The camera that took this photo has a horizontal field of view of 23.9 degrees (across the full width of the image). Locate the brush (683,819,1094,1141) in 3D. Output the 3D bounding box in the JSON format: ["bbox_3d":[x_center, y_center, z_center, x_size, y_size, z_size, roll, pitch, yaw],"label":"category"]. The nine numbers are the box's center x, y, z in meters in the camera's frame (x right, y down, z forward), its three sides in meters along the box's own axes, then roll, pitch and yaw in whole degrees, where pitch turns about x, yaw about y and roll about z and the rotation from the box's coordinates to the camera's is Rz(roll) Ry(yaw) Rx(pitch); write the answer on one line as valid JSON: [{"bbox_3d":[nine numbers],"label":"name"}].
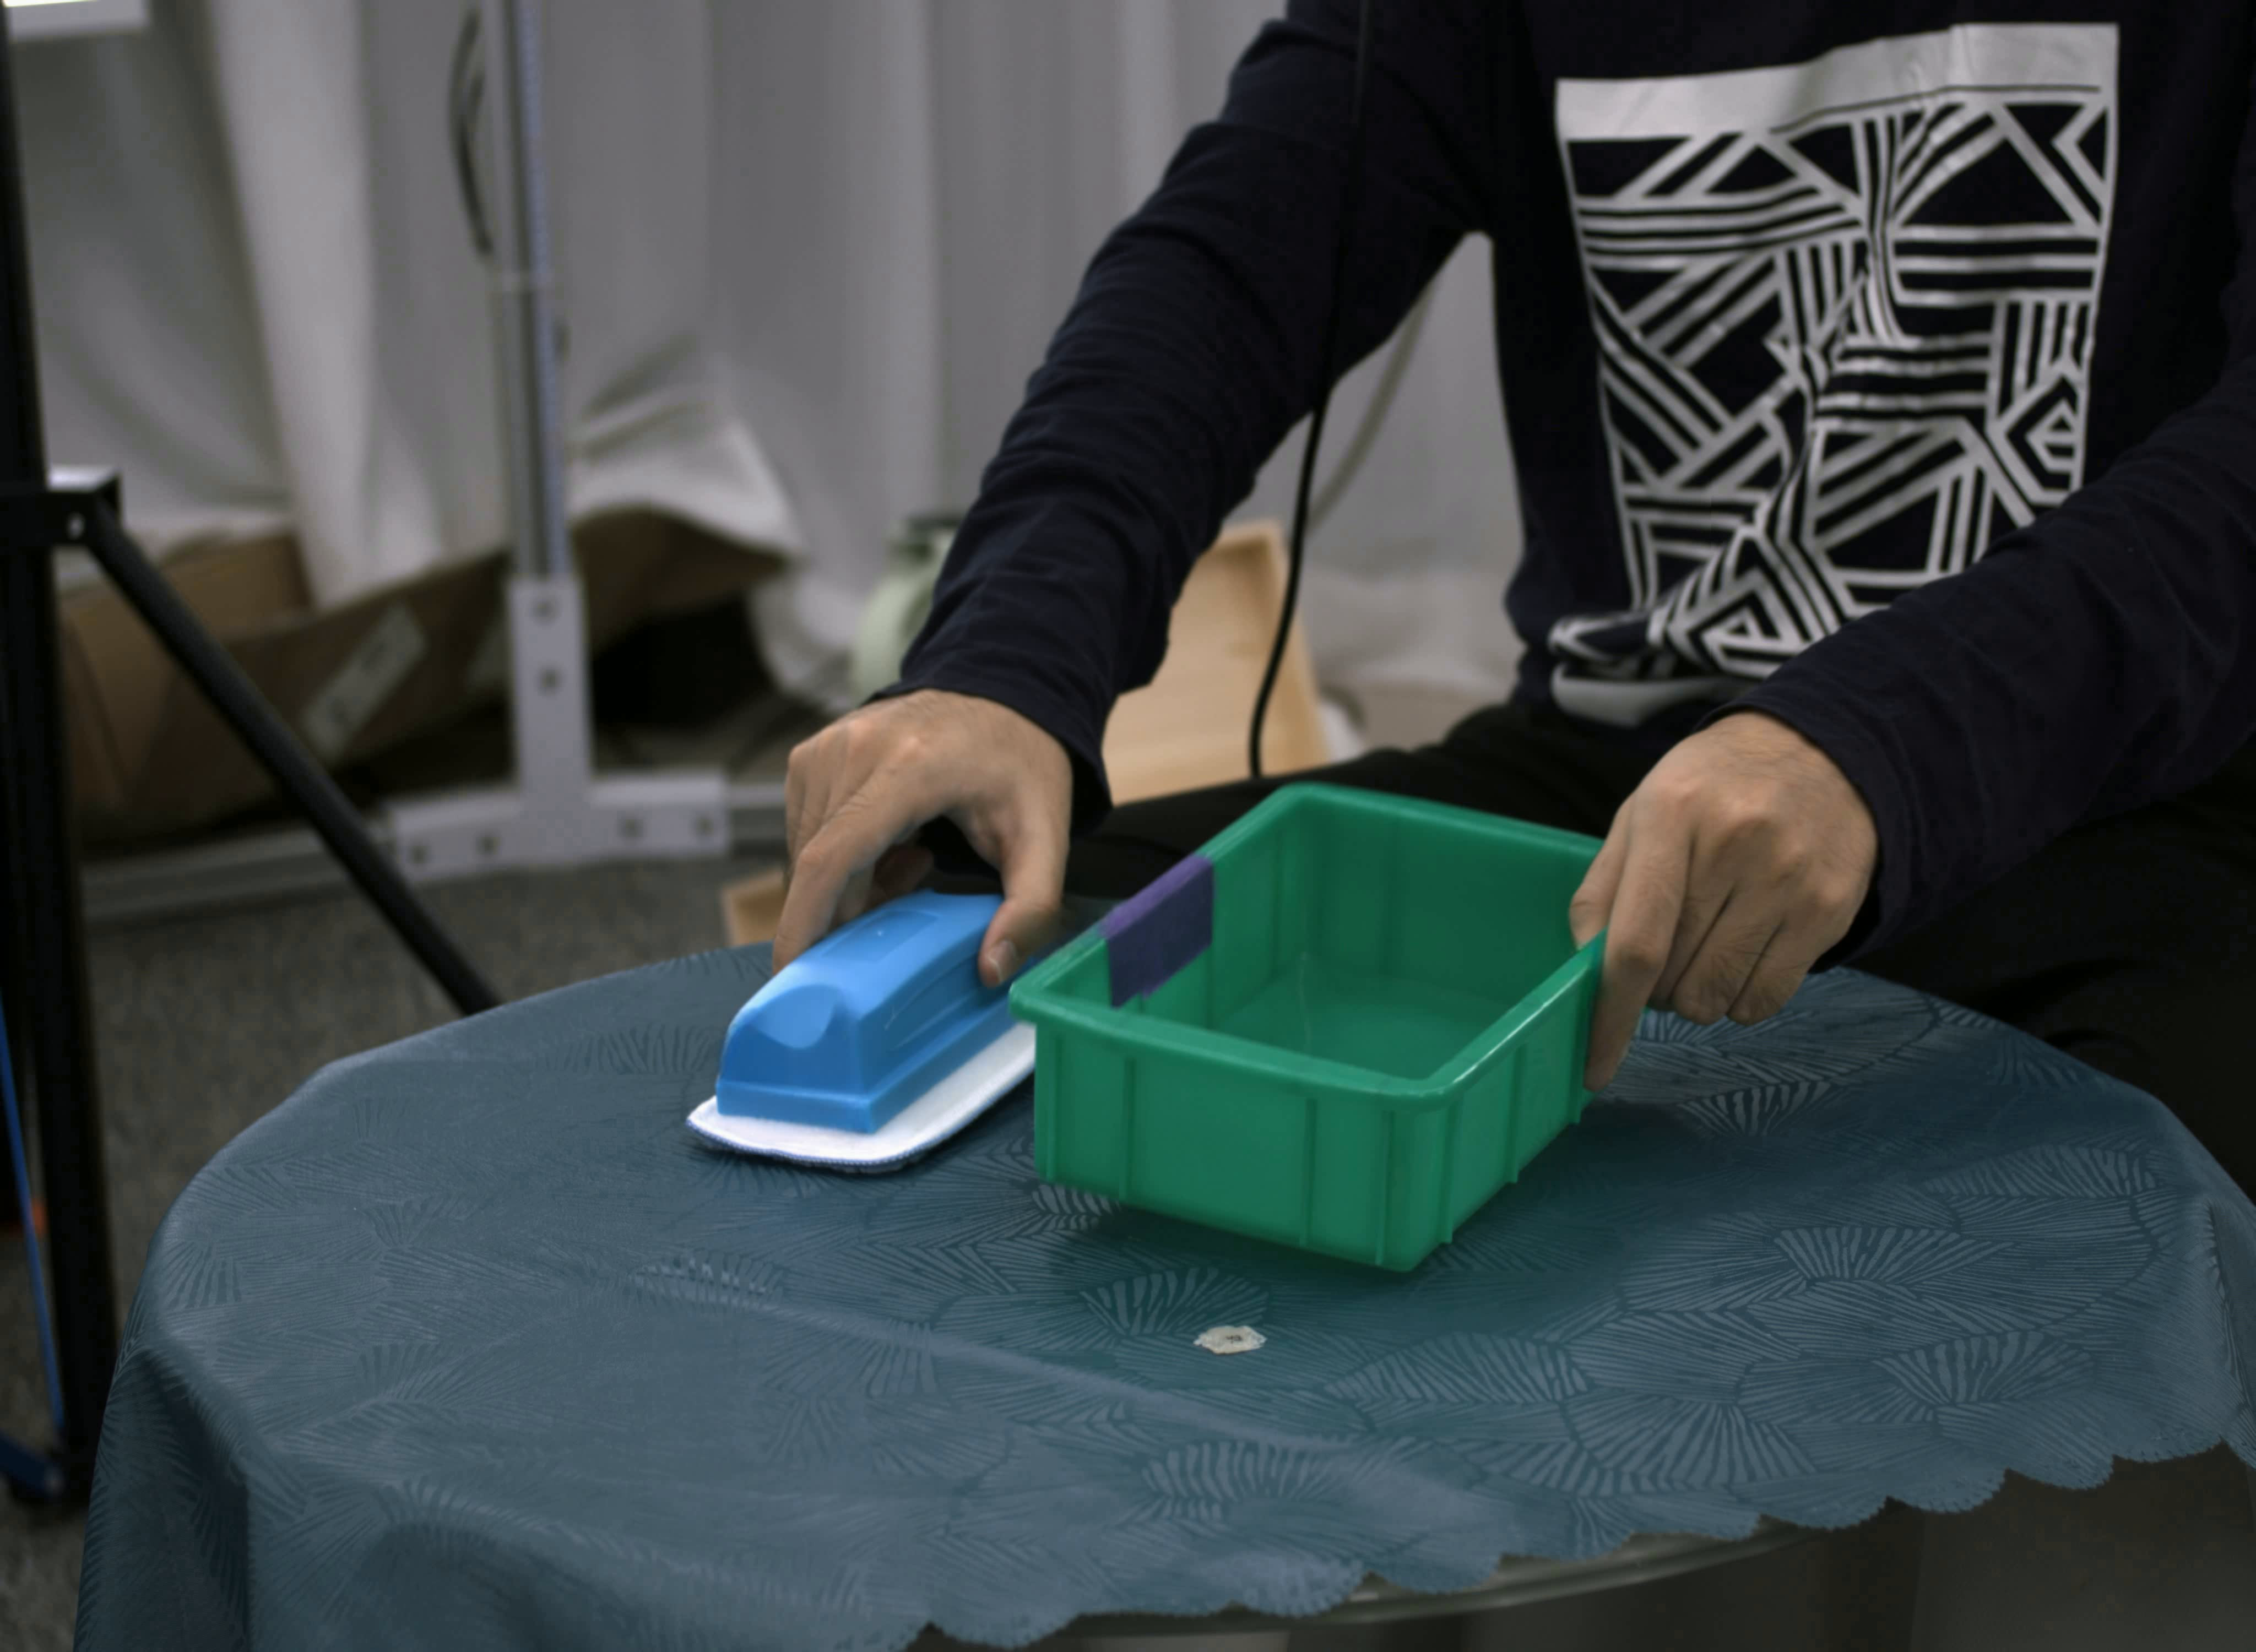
[{"bbox_3d":[-0.075,0.043,1.649,0.085,0.055,0.142,5,31,31],"label":"brush"}]

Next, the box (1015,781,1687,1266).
[{"bbox_3d":[0.067,0.057,1.557,0.141,0.065,0.207,11,23,24],"label":"box"}]
